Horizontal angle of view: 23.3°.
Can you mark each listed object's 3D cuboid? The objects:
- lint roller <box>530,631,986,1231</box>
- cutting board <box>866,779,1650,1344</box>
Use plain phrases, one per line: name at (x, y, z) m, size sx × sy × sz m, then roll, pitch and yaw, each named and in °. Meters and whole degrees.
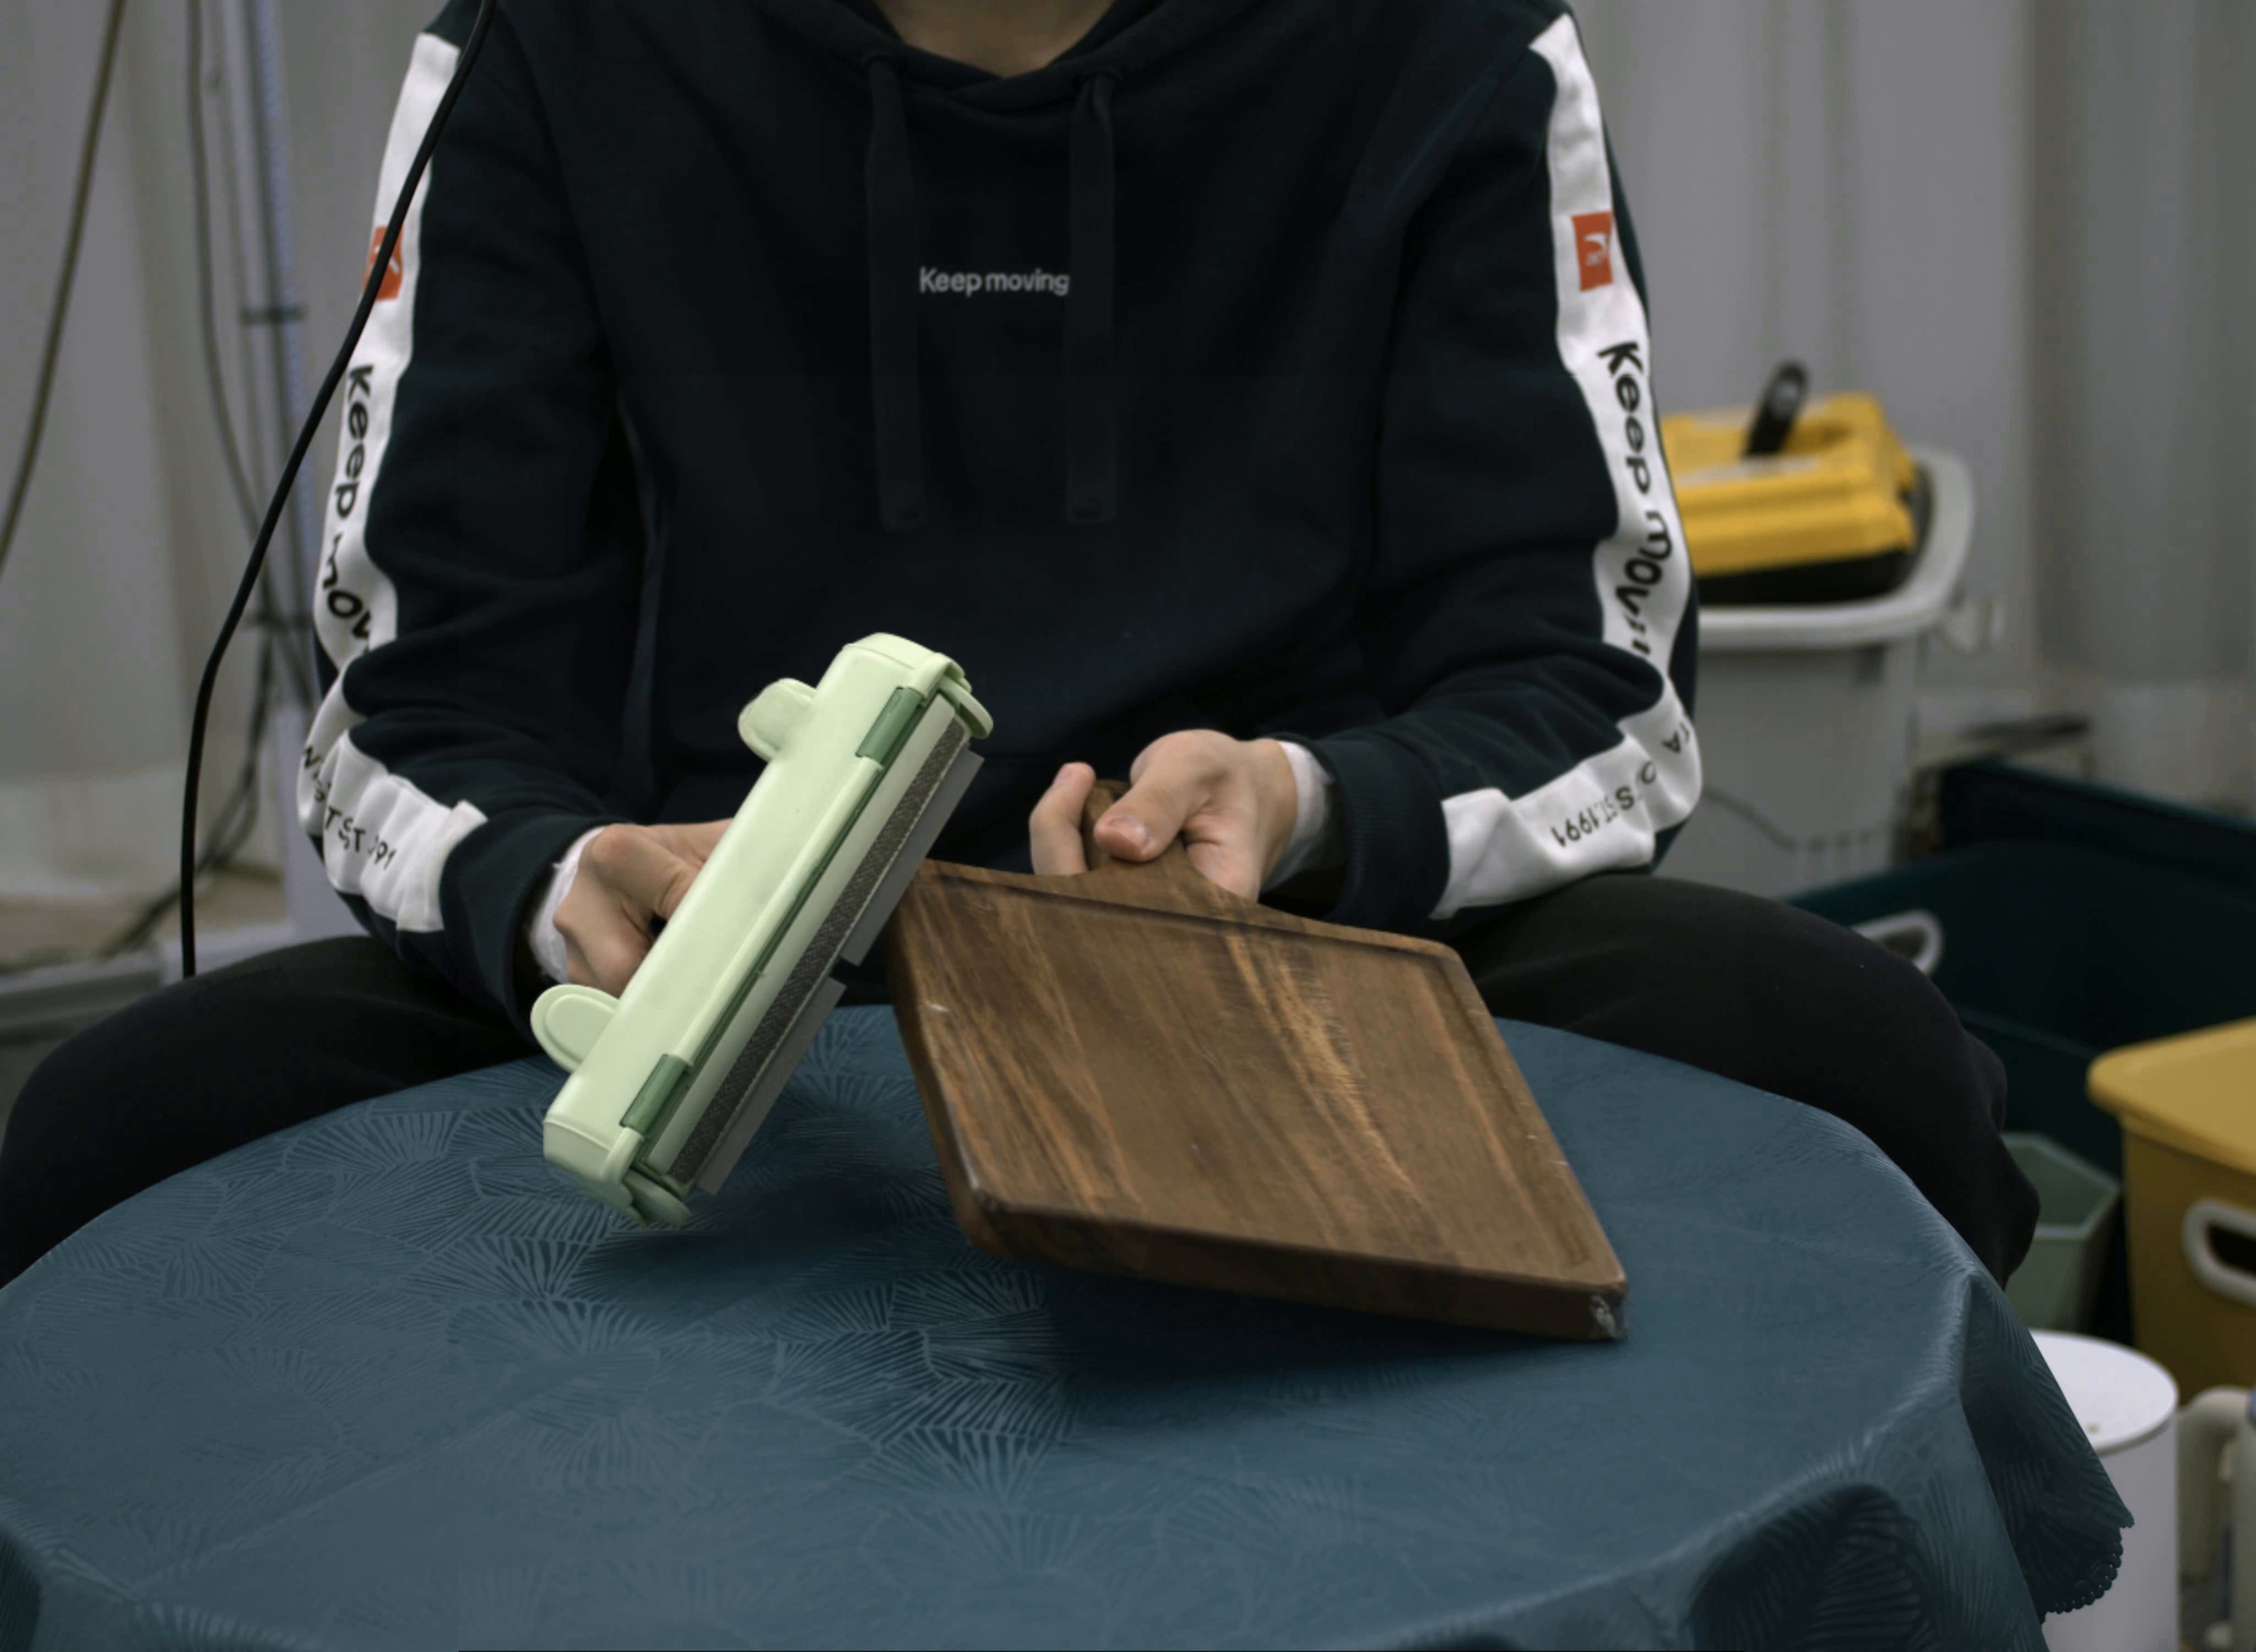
lint roller at (-0.137, 0.030, 1.743) m, size 0.081 × 0.200 × 0.183 m, roll 35°, pitch -14°, yaw -18°
cutting board at (0.024, 0.061, 1.695) m, size 0.200 × 0.023 × 0.356 m, roll 9°, pitch 20°, yaw -14°
